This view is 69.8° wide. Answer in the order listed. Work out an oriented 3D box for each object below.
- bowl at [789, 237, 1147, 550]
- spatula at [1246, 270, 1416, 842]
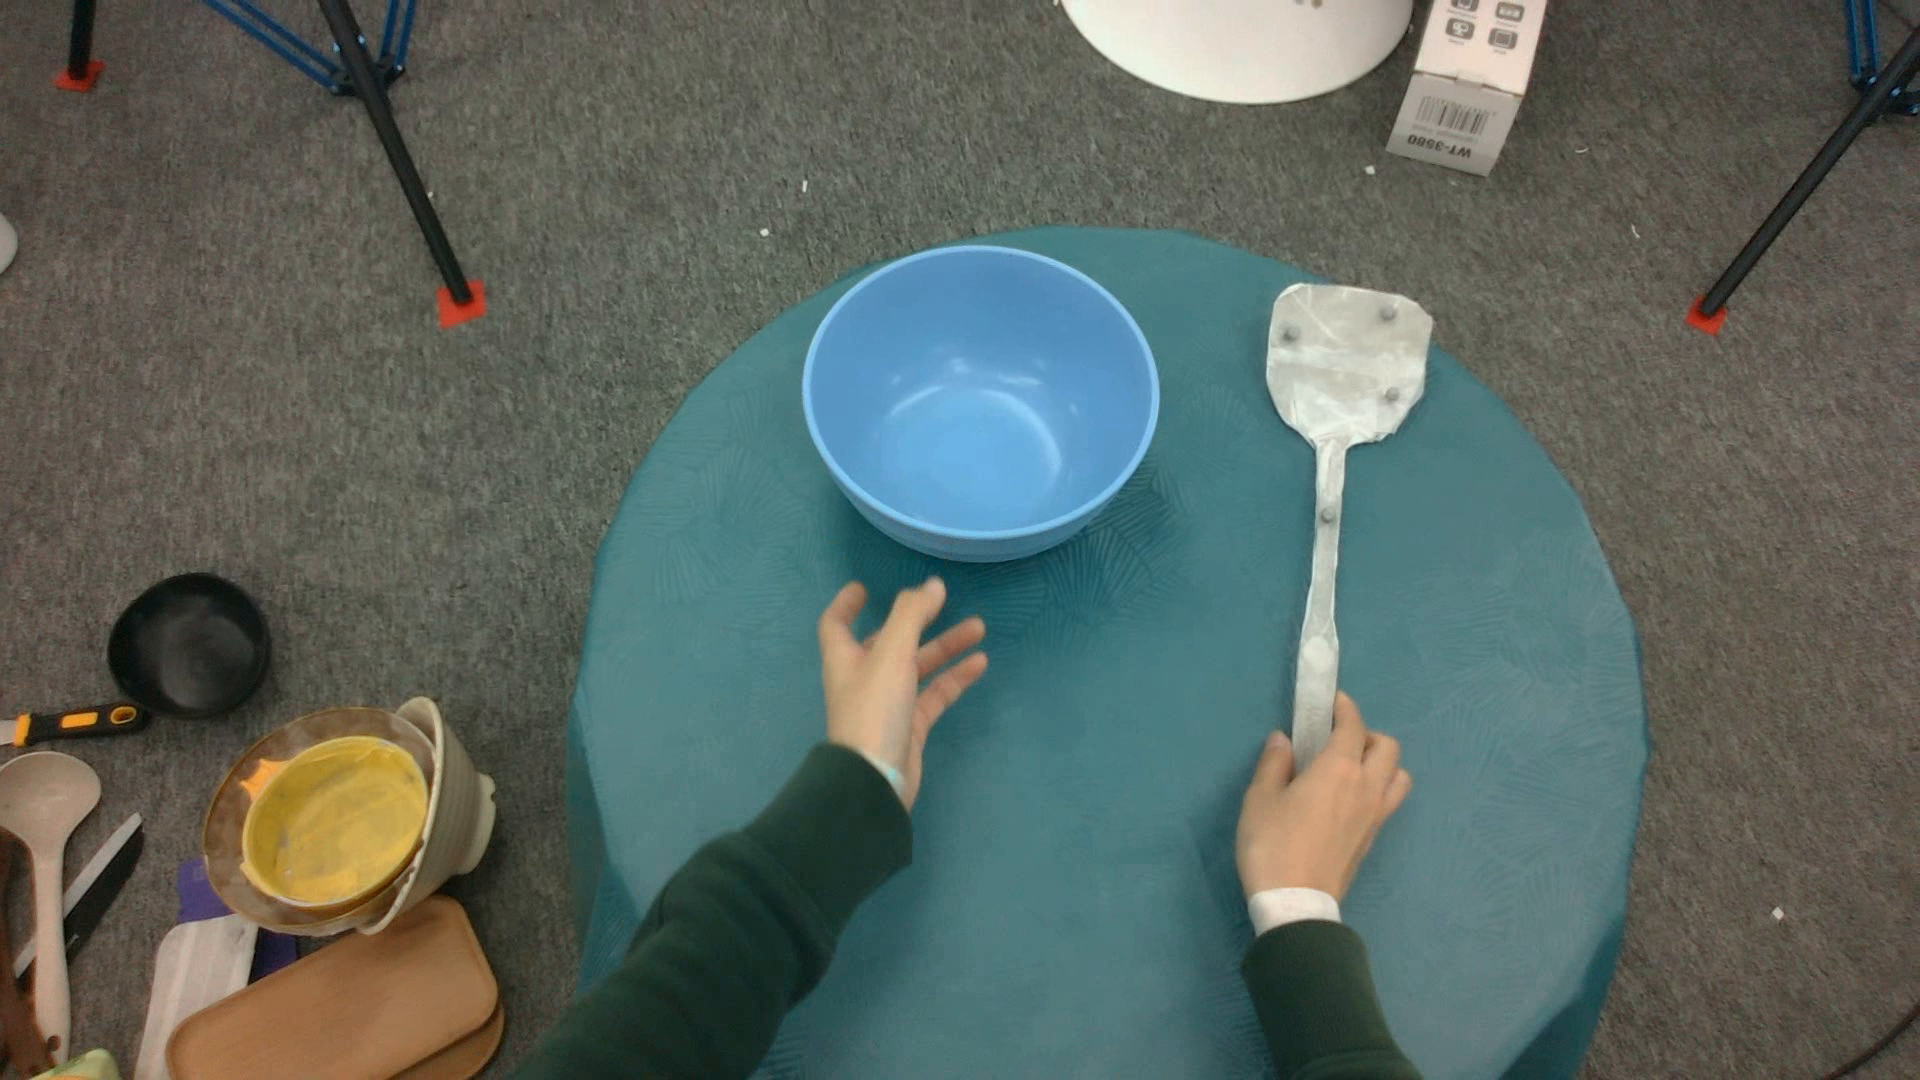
[{"bbox_3d":[0.003,-0.069,0.791,0.196,0.095,0.197,2,58,-3],"label":"bowl"},{"bbox_3d":[0.202,-0.003,0.797,0.098,0.044,0.366,12,60,3],"label":"spatula"}]
